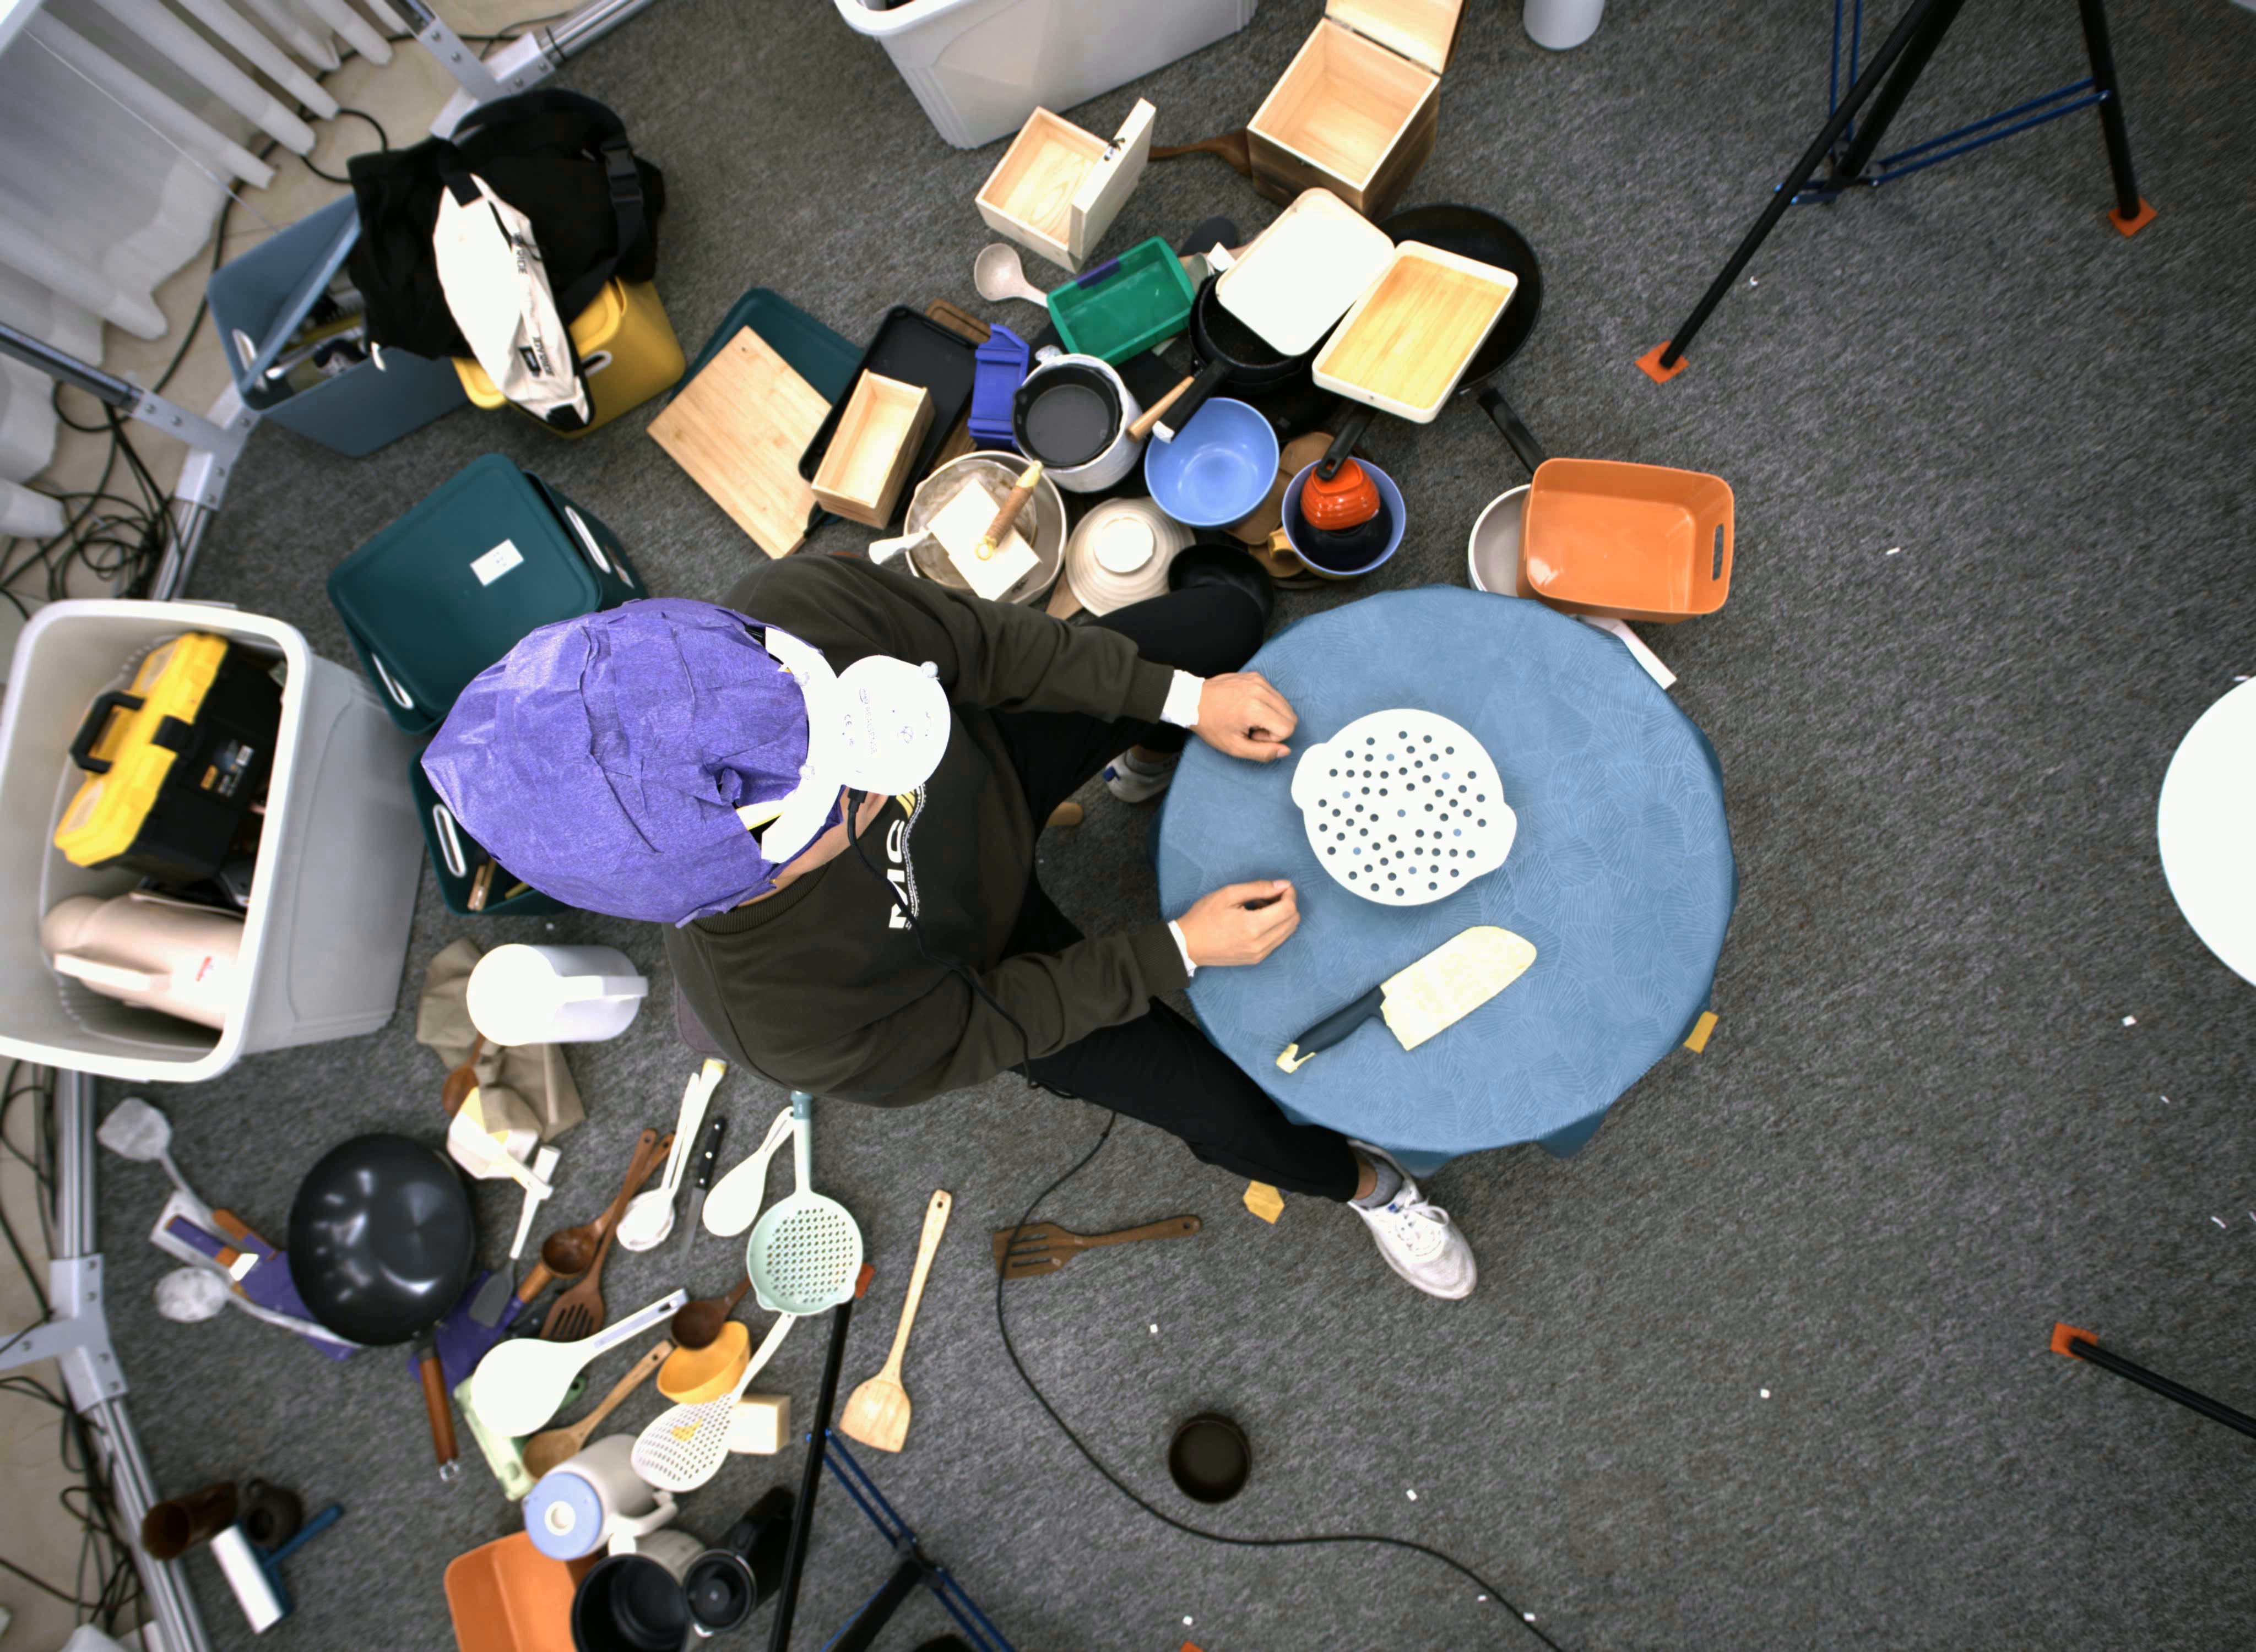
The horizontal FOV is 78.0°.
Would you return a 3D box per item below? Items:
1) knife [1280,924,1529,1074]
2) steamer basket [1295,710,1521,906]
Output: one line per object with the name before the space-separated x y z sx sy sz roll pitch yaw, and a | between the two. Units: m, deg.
knife | 0.291 0.188 1.442 0.291 0.027 0.080 -31 80 7
steamer basket | 0.289 -0.017 1.428 0.230 0.069 0.201 20 90 12
